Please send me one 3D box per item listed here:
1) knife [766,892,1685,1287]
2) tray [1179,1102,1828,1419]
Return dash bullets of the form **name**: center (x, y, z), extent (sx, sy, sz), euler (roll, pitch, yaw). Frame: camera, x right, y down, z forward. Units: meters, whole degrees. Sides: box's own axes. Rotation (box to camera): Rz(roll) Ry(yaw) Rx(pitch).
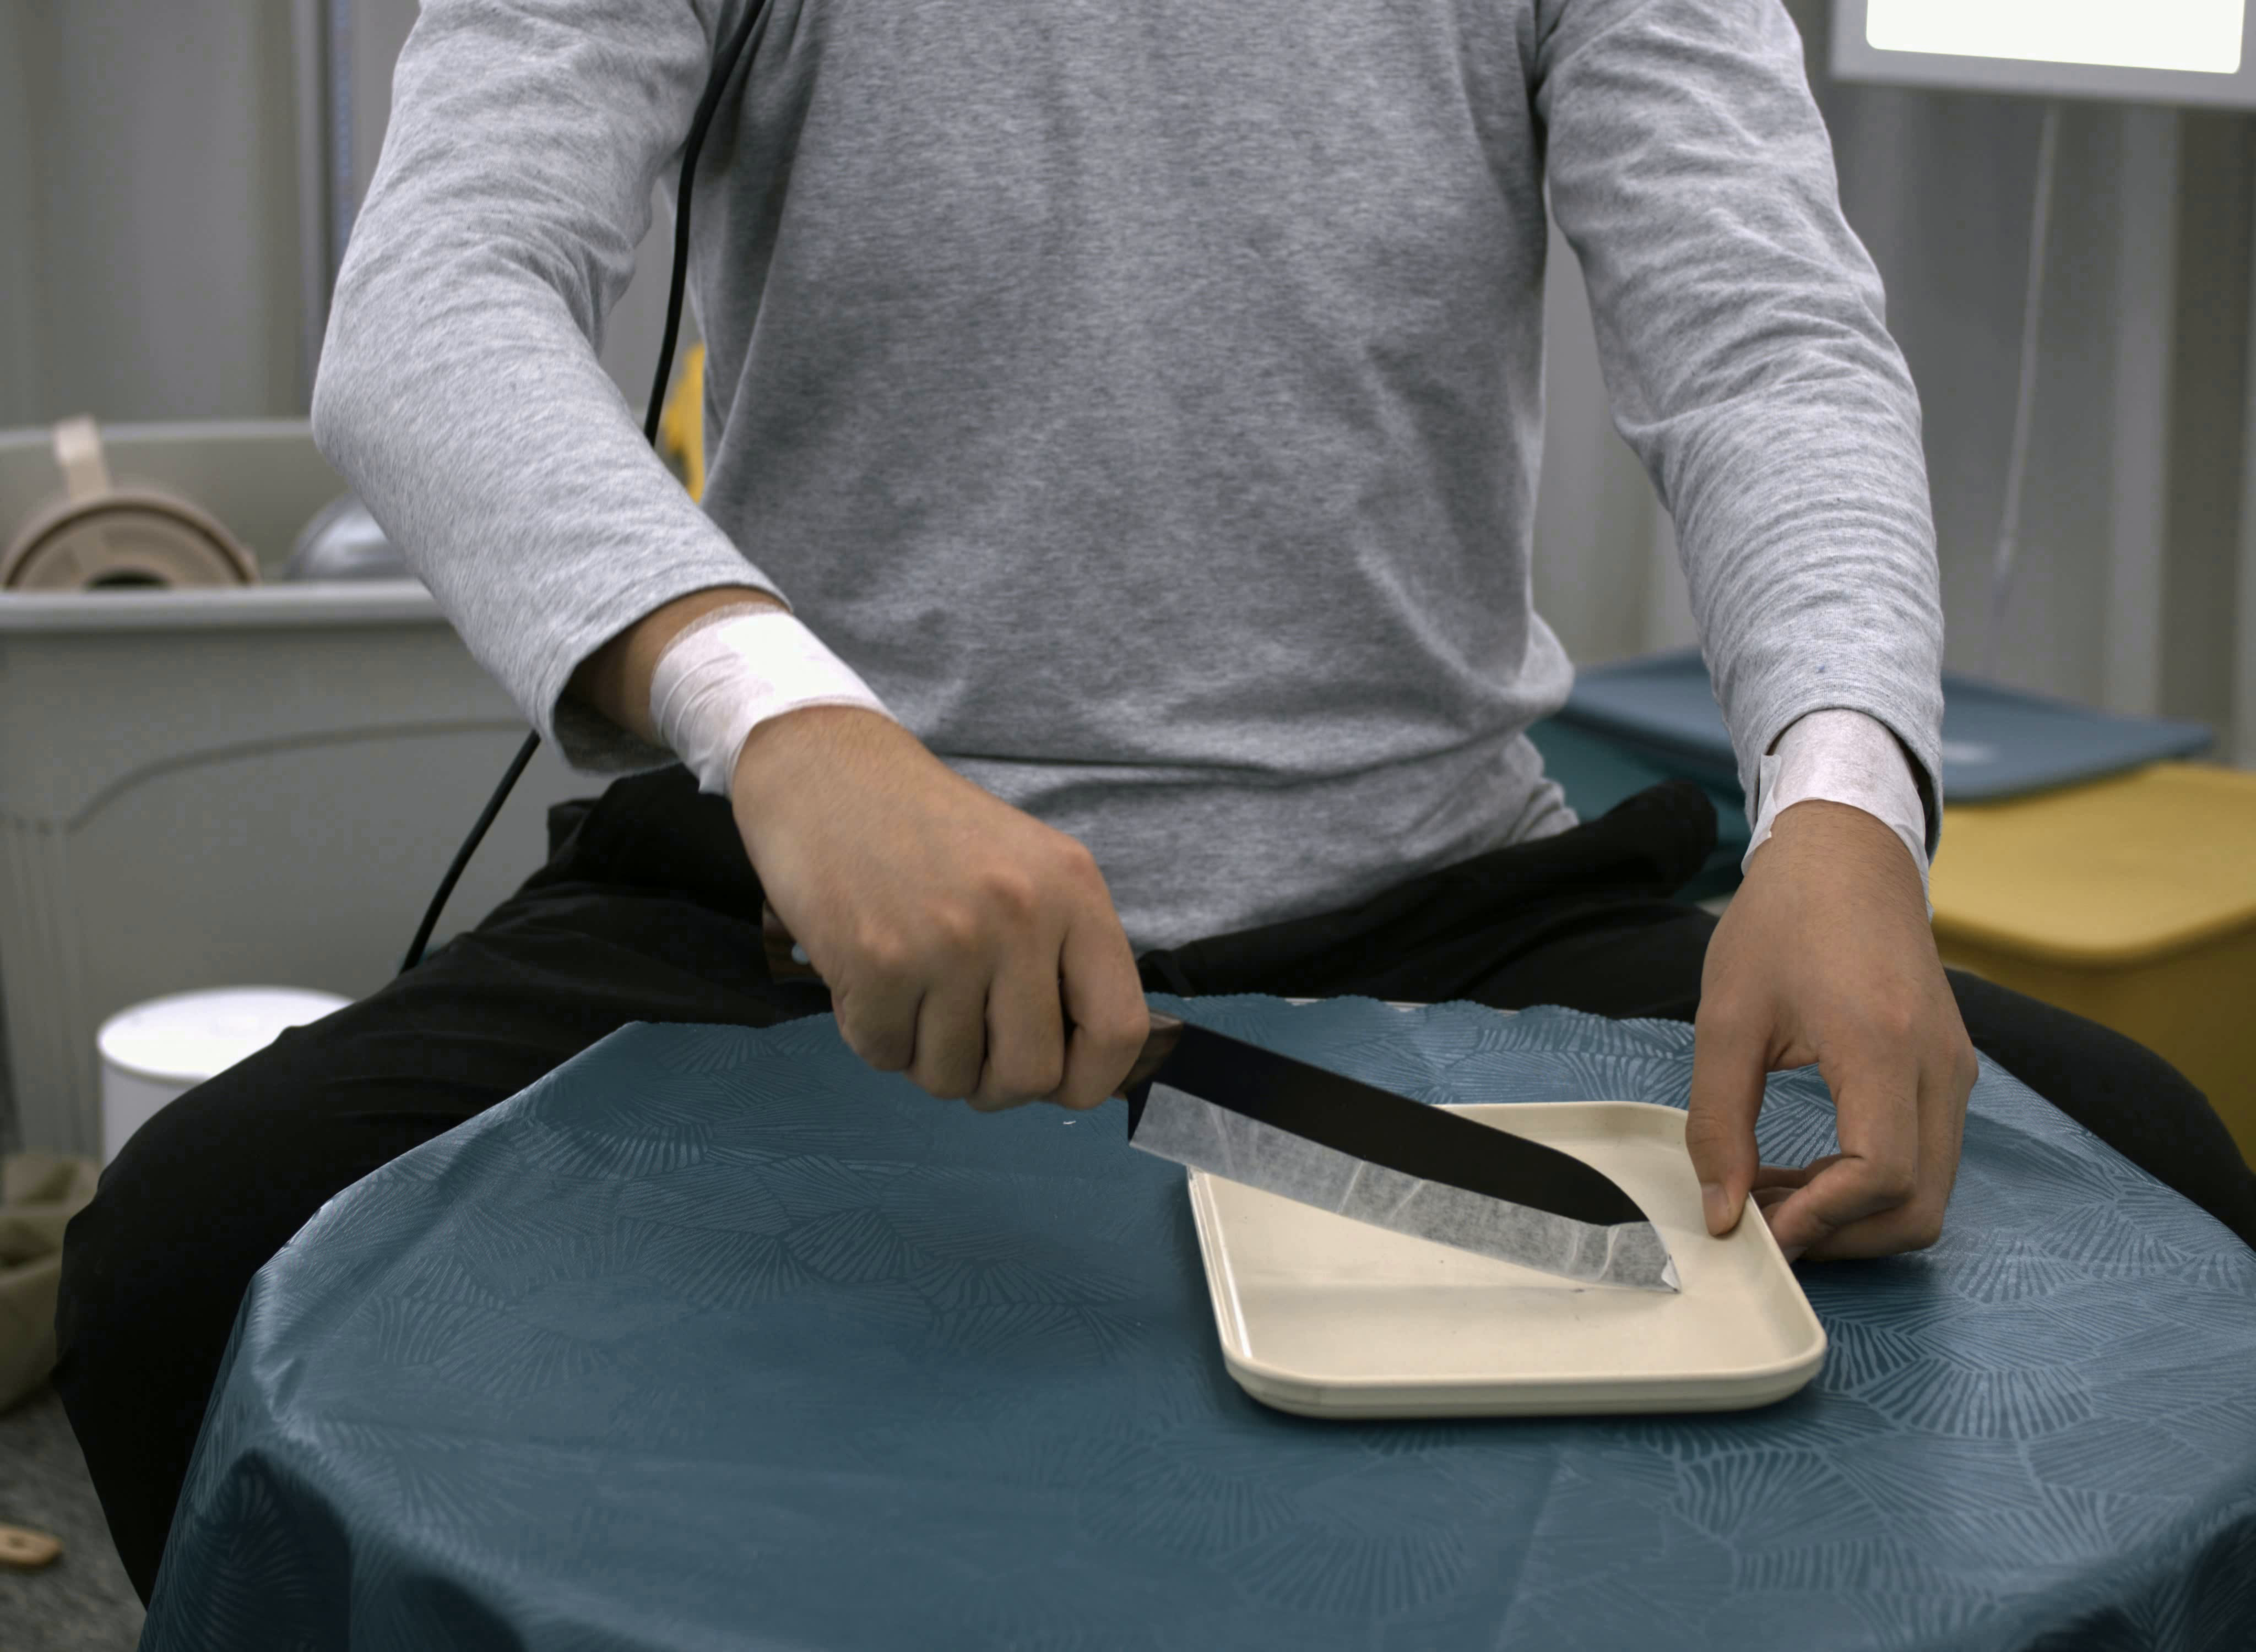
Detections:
- **knife**: center (0.028, 0.078, 1.531), extent (0.288, 0.050, 0.020), euler (21, 26, -1)
- **tray**: center (0.105, 0.126, 1.547), extent (0.171, 0.017, 0.238), euler (0, 15, -3)
